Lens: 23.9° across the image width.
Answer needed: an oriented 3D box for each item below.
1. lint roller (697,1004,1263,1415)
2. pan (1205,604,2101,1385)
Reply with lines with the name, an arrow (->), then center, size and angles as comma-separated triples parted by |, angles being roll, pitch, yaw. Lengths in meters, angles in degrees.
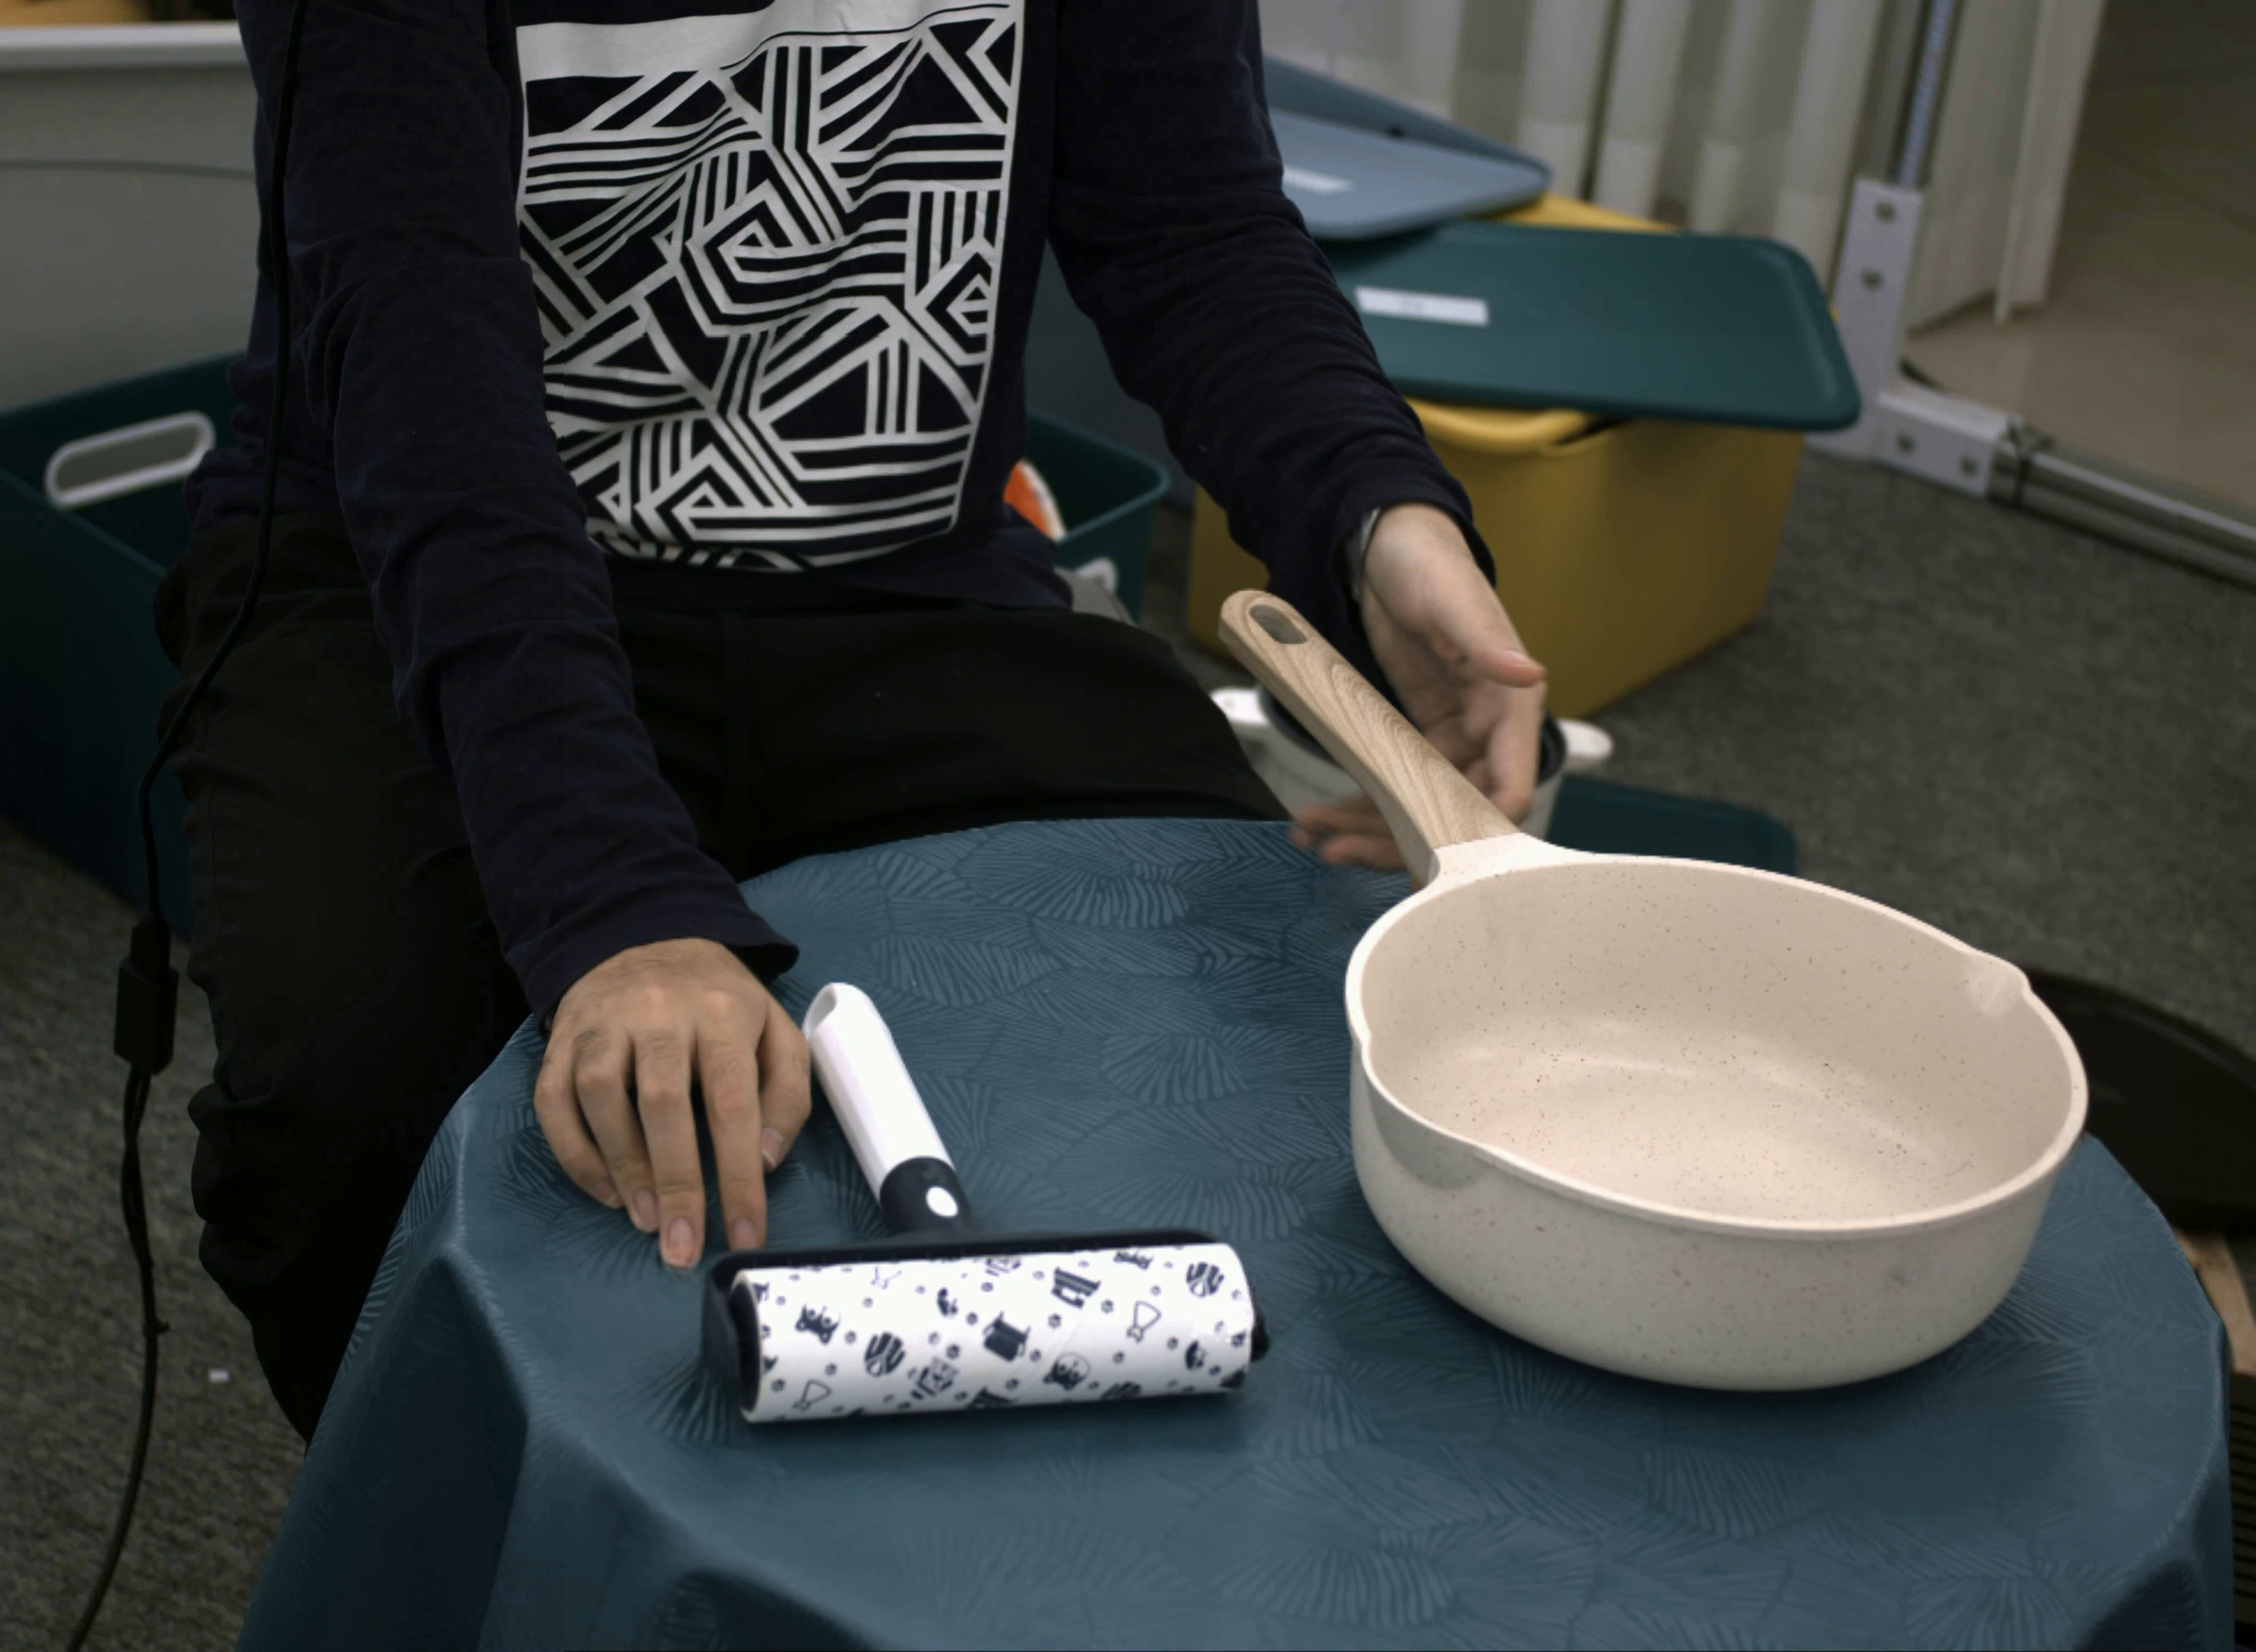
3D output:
lint roller -> -0.074, 0.115, 1.762 | 0.175, 0.050, 0.249 | -3, 26, -17
pan -> 0.150, 0.055, 1.865 | 0.262, 0.101, 0.439 | -12, 32, -30
